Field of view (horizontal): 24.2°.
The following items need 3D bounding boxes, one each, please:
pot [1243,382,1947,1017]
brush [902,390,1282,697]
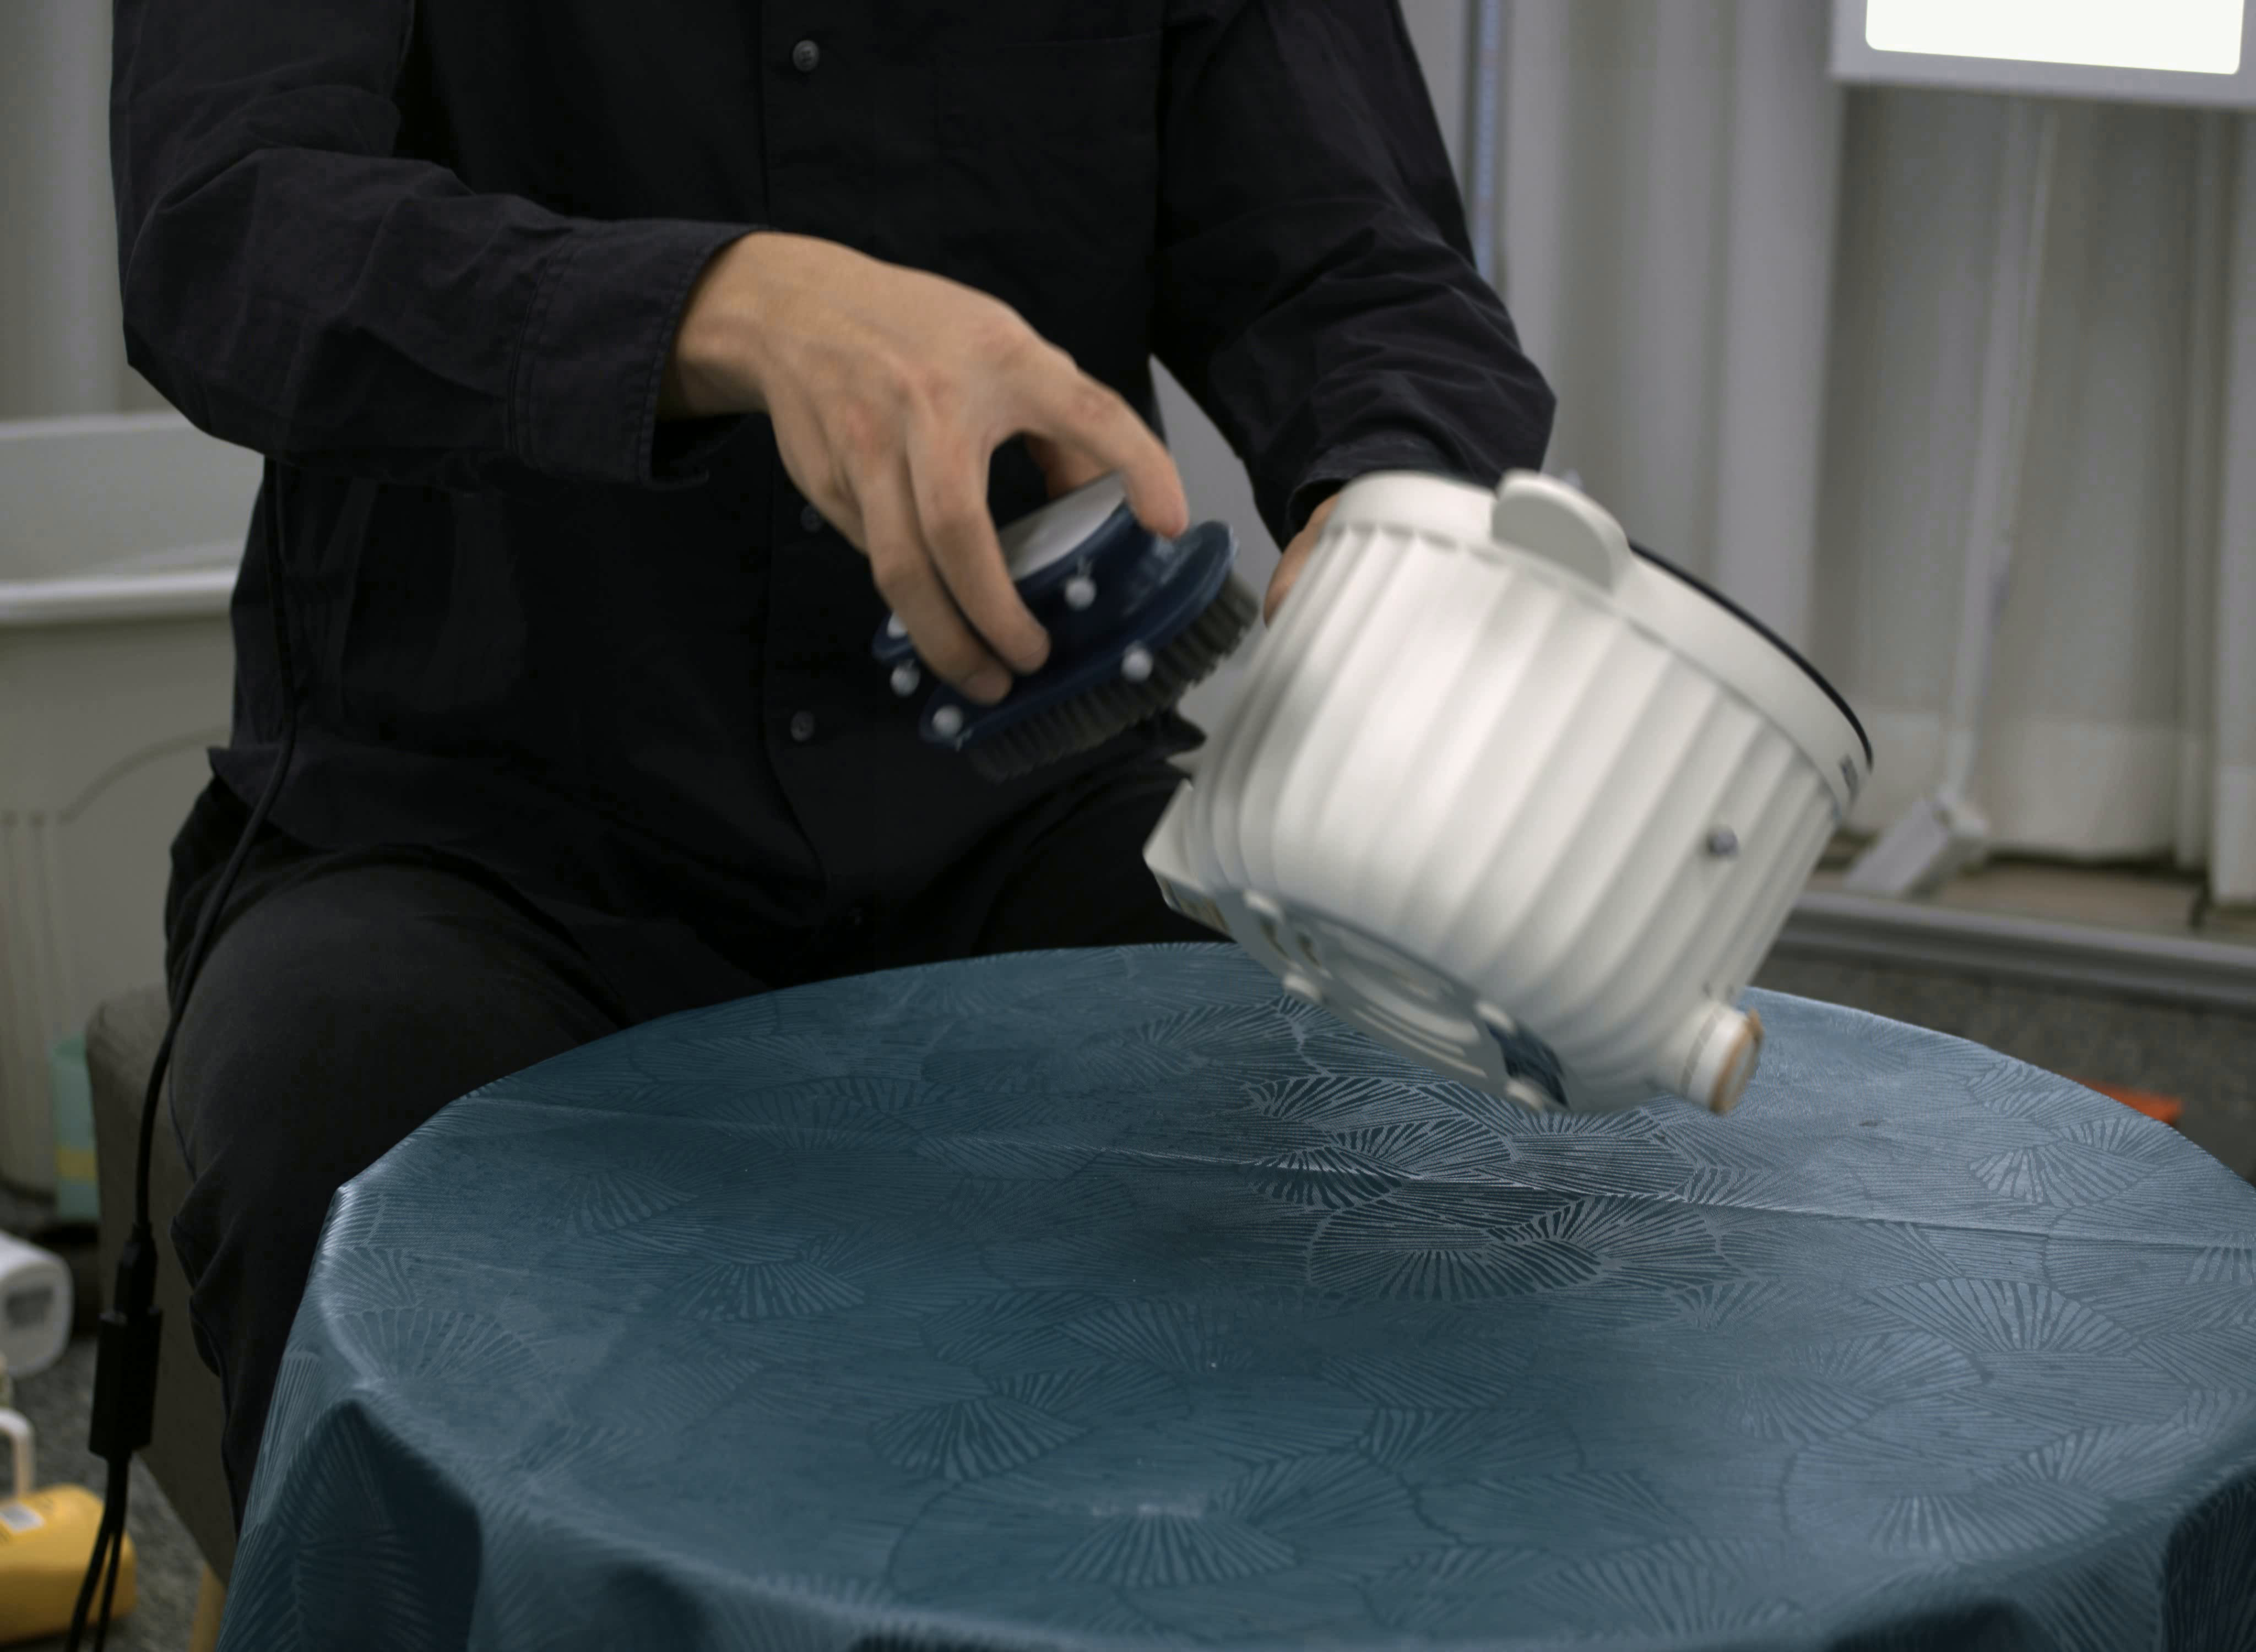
[{"bbox_3d":[0.147,-0.028,1.627,0.189,0.142,0.242,23,-12,16],"label":"pot"},{"bbox_3d":[-0.009,-0.081,1.563,0.120,0.062,0.067,-18,31,42],"label":"brush"}]
